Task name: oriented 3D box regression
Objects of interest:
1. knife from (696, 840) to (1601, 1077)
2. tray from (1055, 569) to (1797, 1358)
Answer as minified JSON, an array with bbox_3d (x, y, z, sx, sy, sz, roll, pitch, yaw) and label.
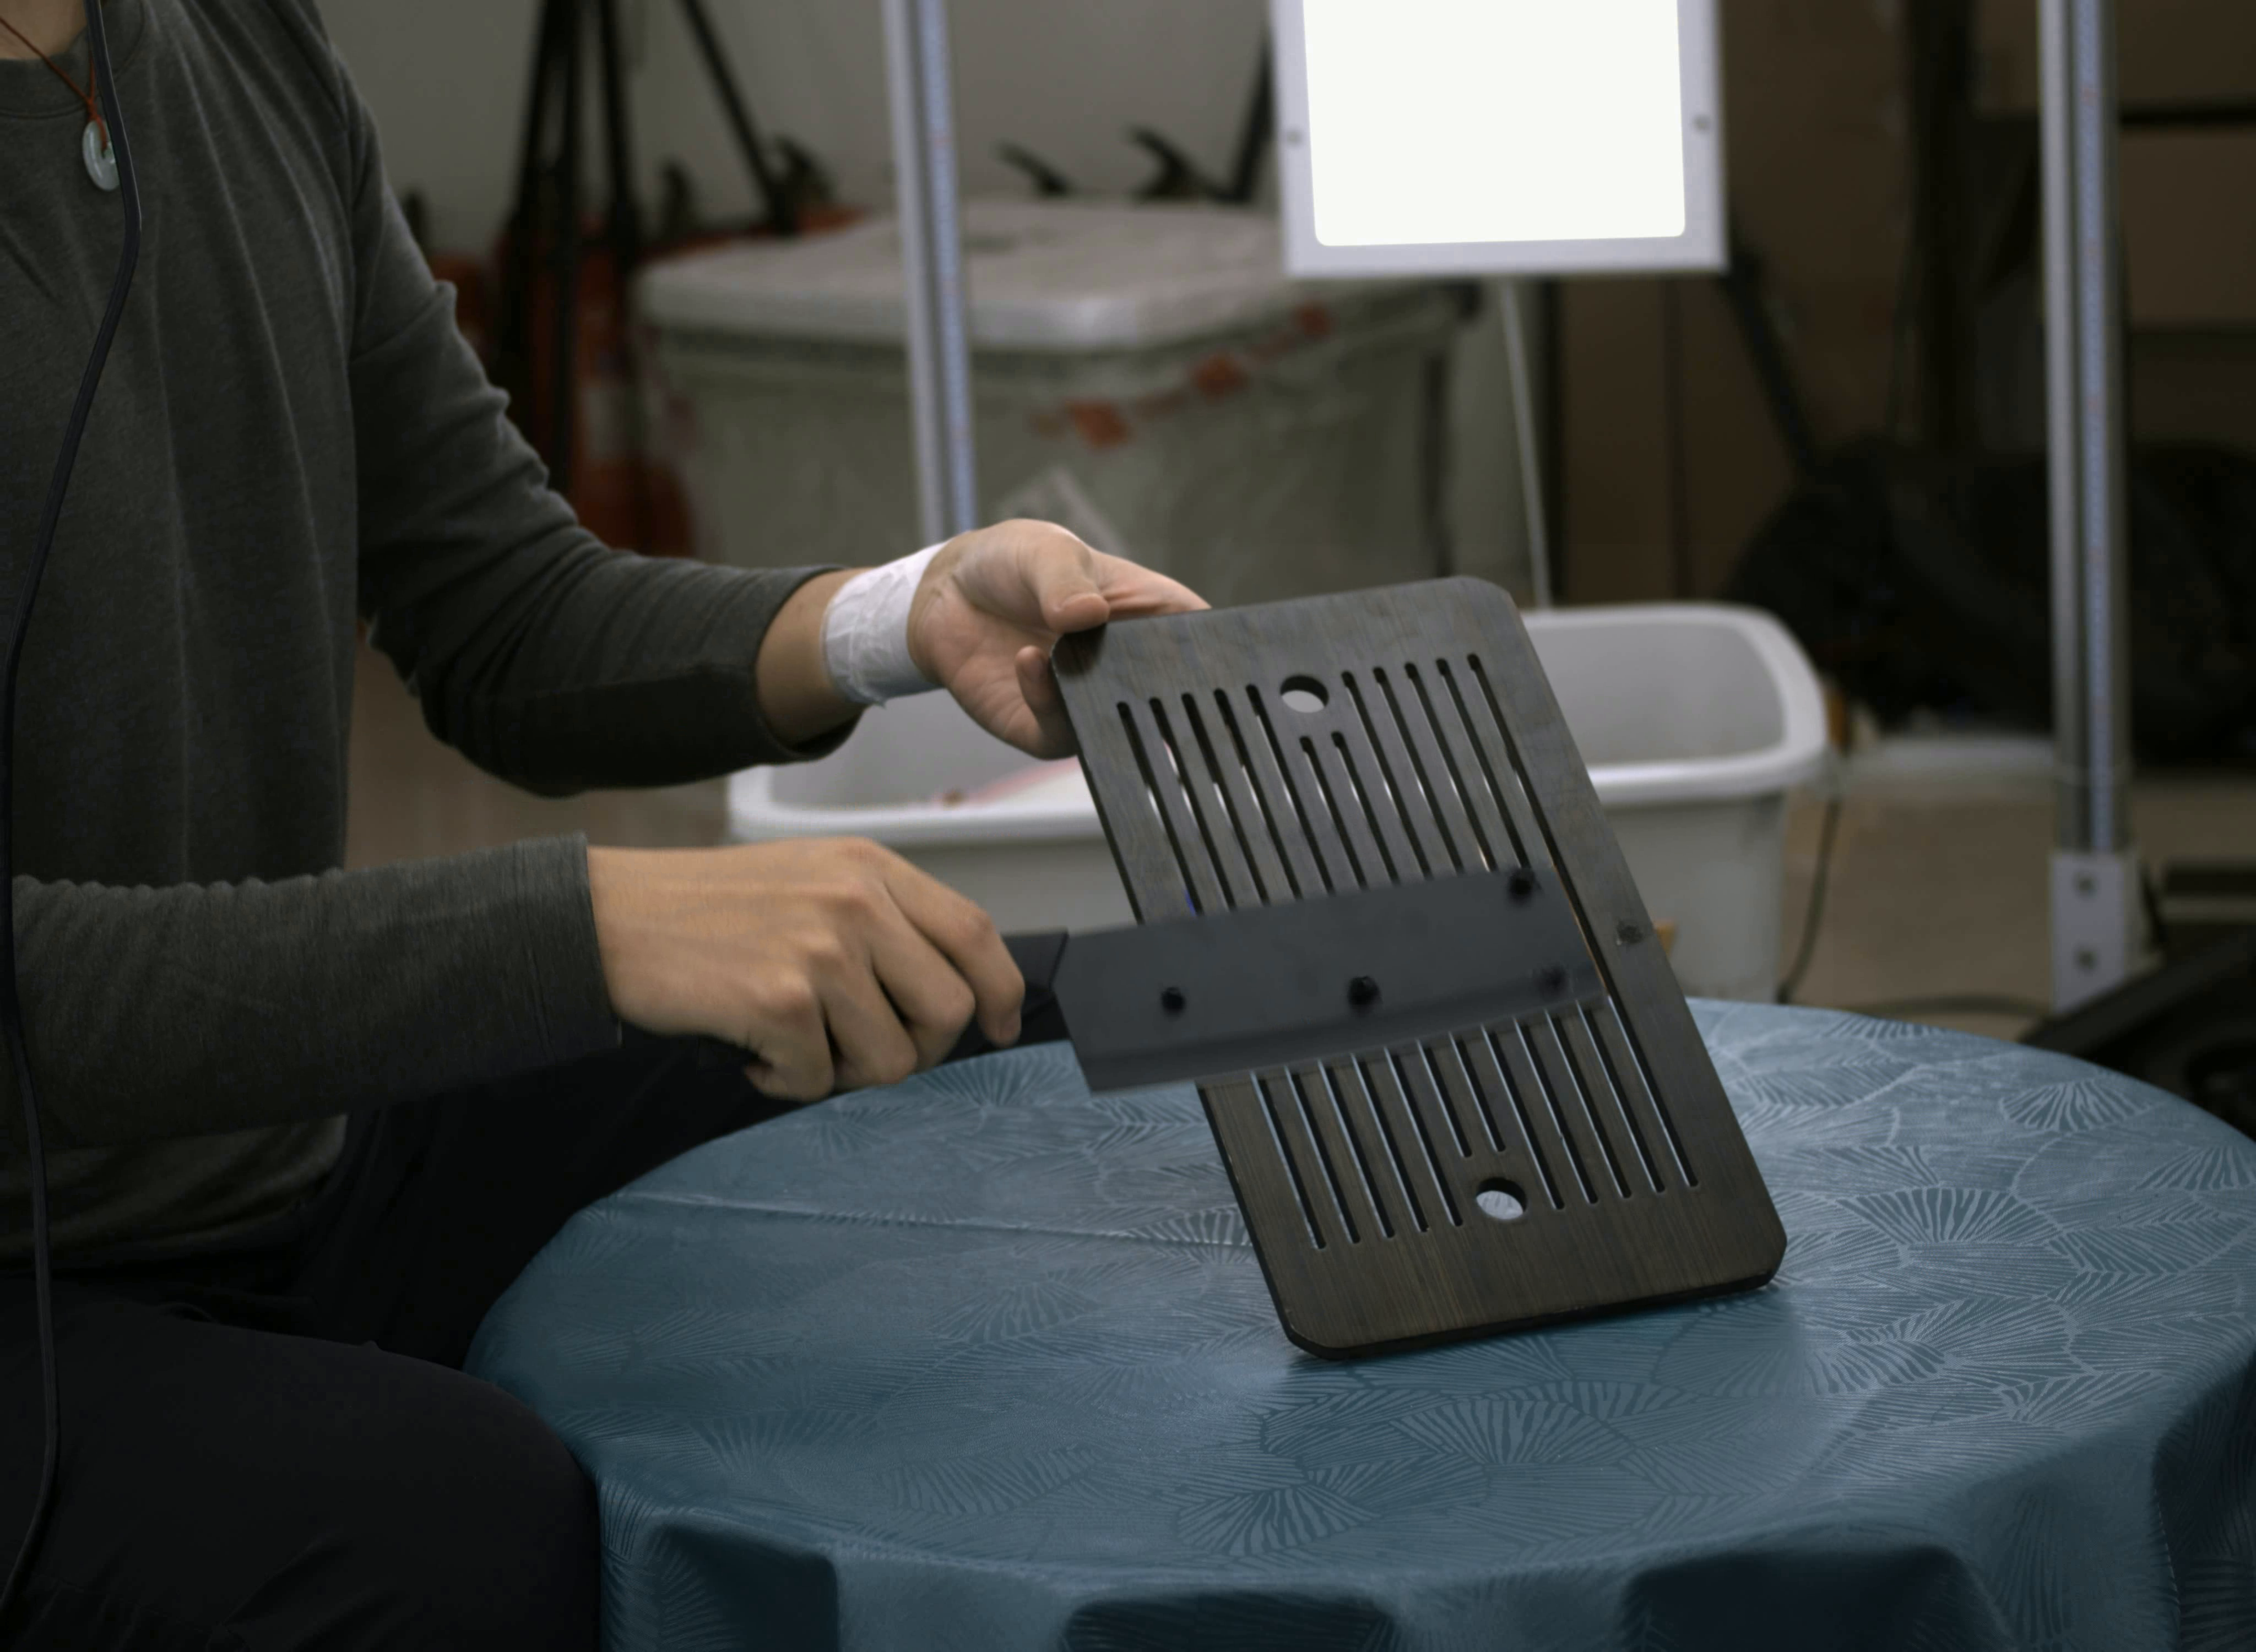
[{"bbox_3d":[0.007,0.050,1.791,0.299,0.021,0.081,-6,51,-10],"label":"knife"},{"bbox_3d":[0.094,0.040,1.819,0.168,0.019,0.307,-10,52,-13],"label":"tray"}]
